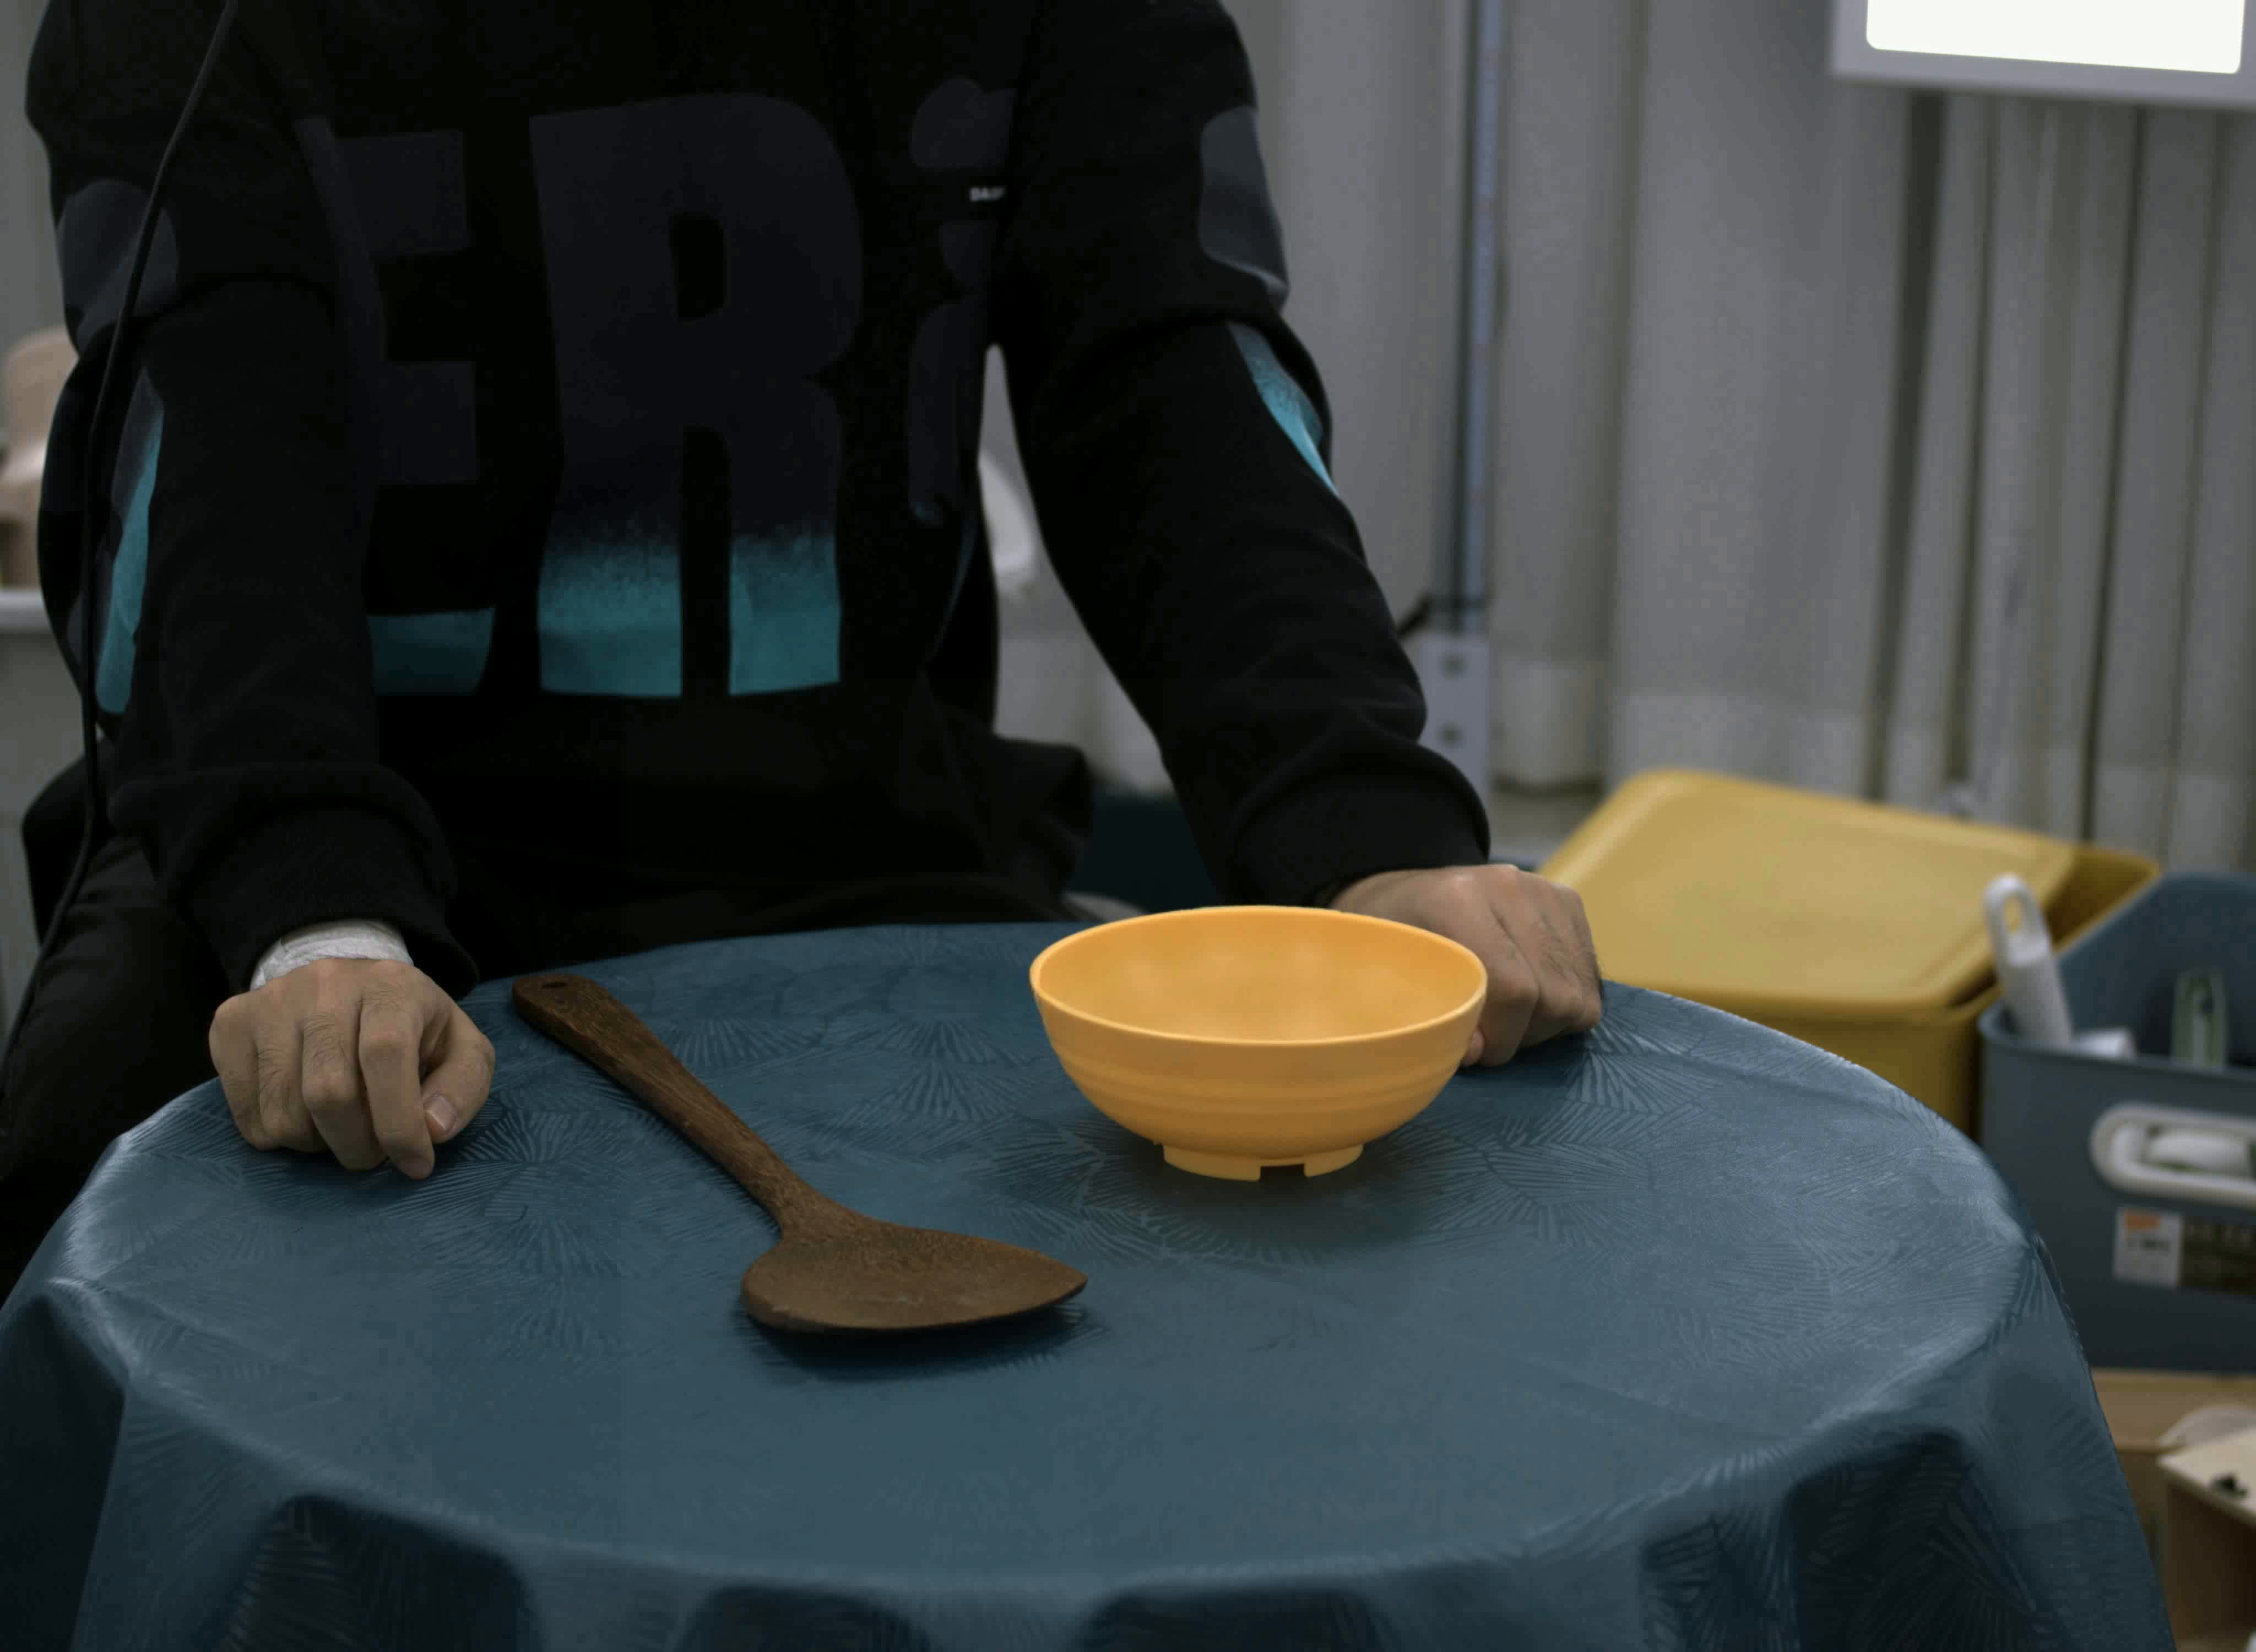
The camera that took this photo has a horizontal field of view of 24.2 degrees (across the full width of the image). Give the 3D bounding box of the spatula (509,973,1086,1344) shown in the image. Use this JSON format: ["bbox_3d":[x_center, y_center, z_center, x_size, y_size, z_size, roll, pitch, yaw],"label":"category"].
[{"bbox_3d":[-0.126,0.098,1.649,0.096,0.016,0.381,-6,17,-24],"label":"spatula"}]

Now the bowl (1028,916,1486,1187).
[{"bbox_3d":[0.039,0.076,1.658,0.145,0.060,0.144,3,14,0],"label":"bowl"}]
